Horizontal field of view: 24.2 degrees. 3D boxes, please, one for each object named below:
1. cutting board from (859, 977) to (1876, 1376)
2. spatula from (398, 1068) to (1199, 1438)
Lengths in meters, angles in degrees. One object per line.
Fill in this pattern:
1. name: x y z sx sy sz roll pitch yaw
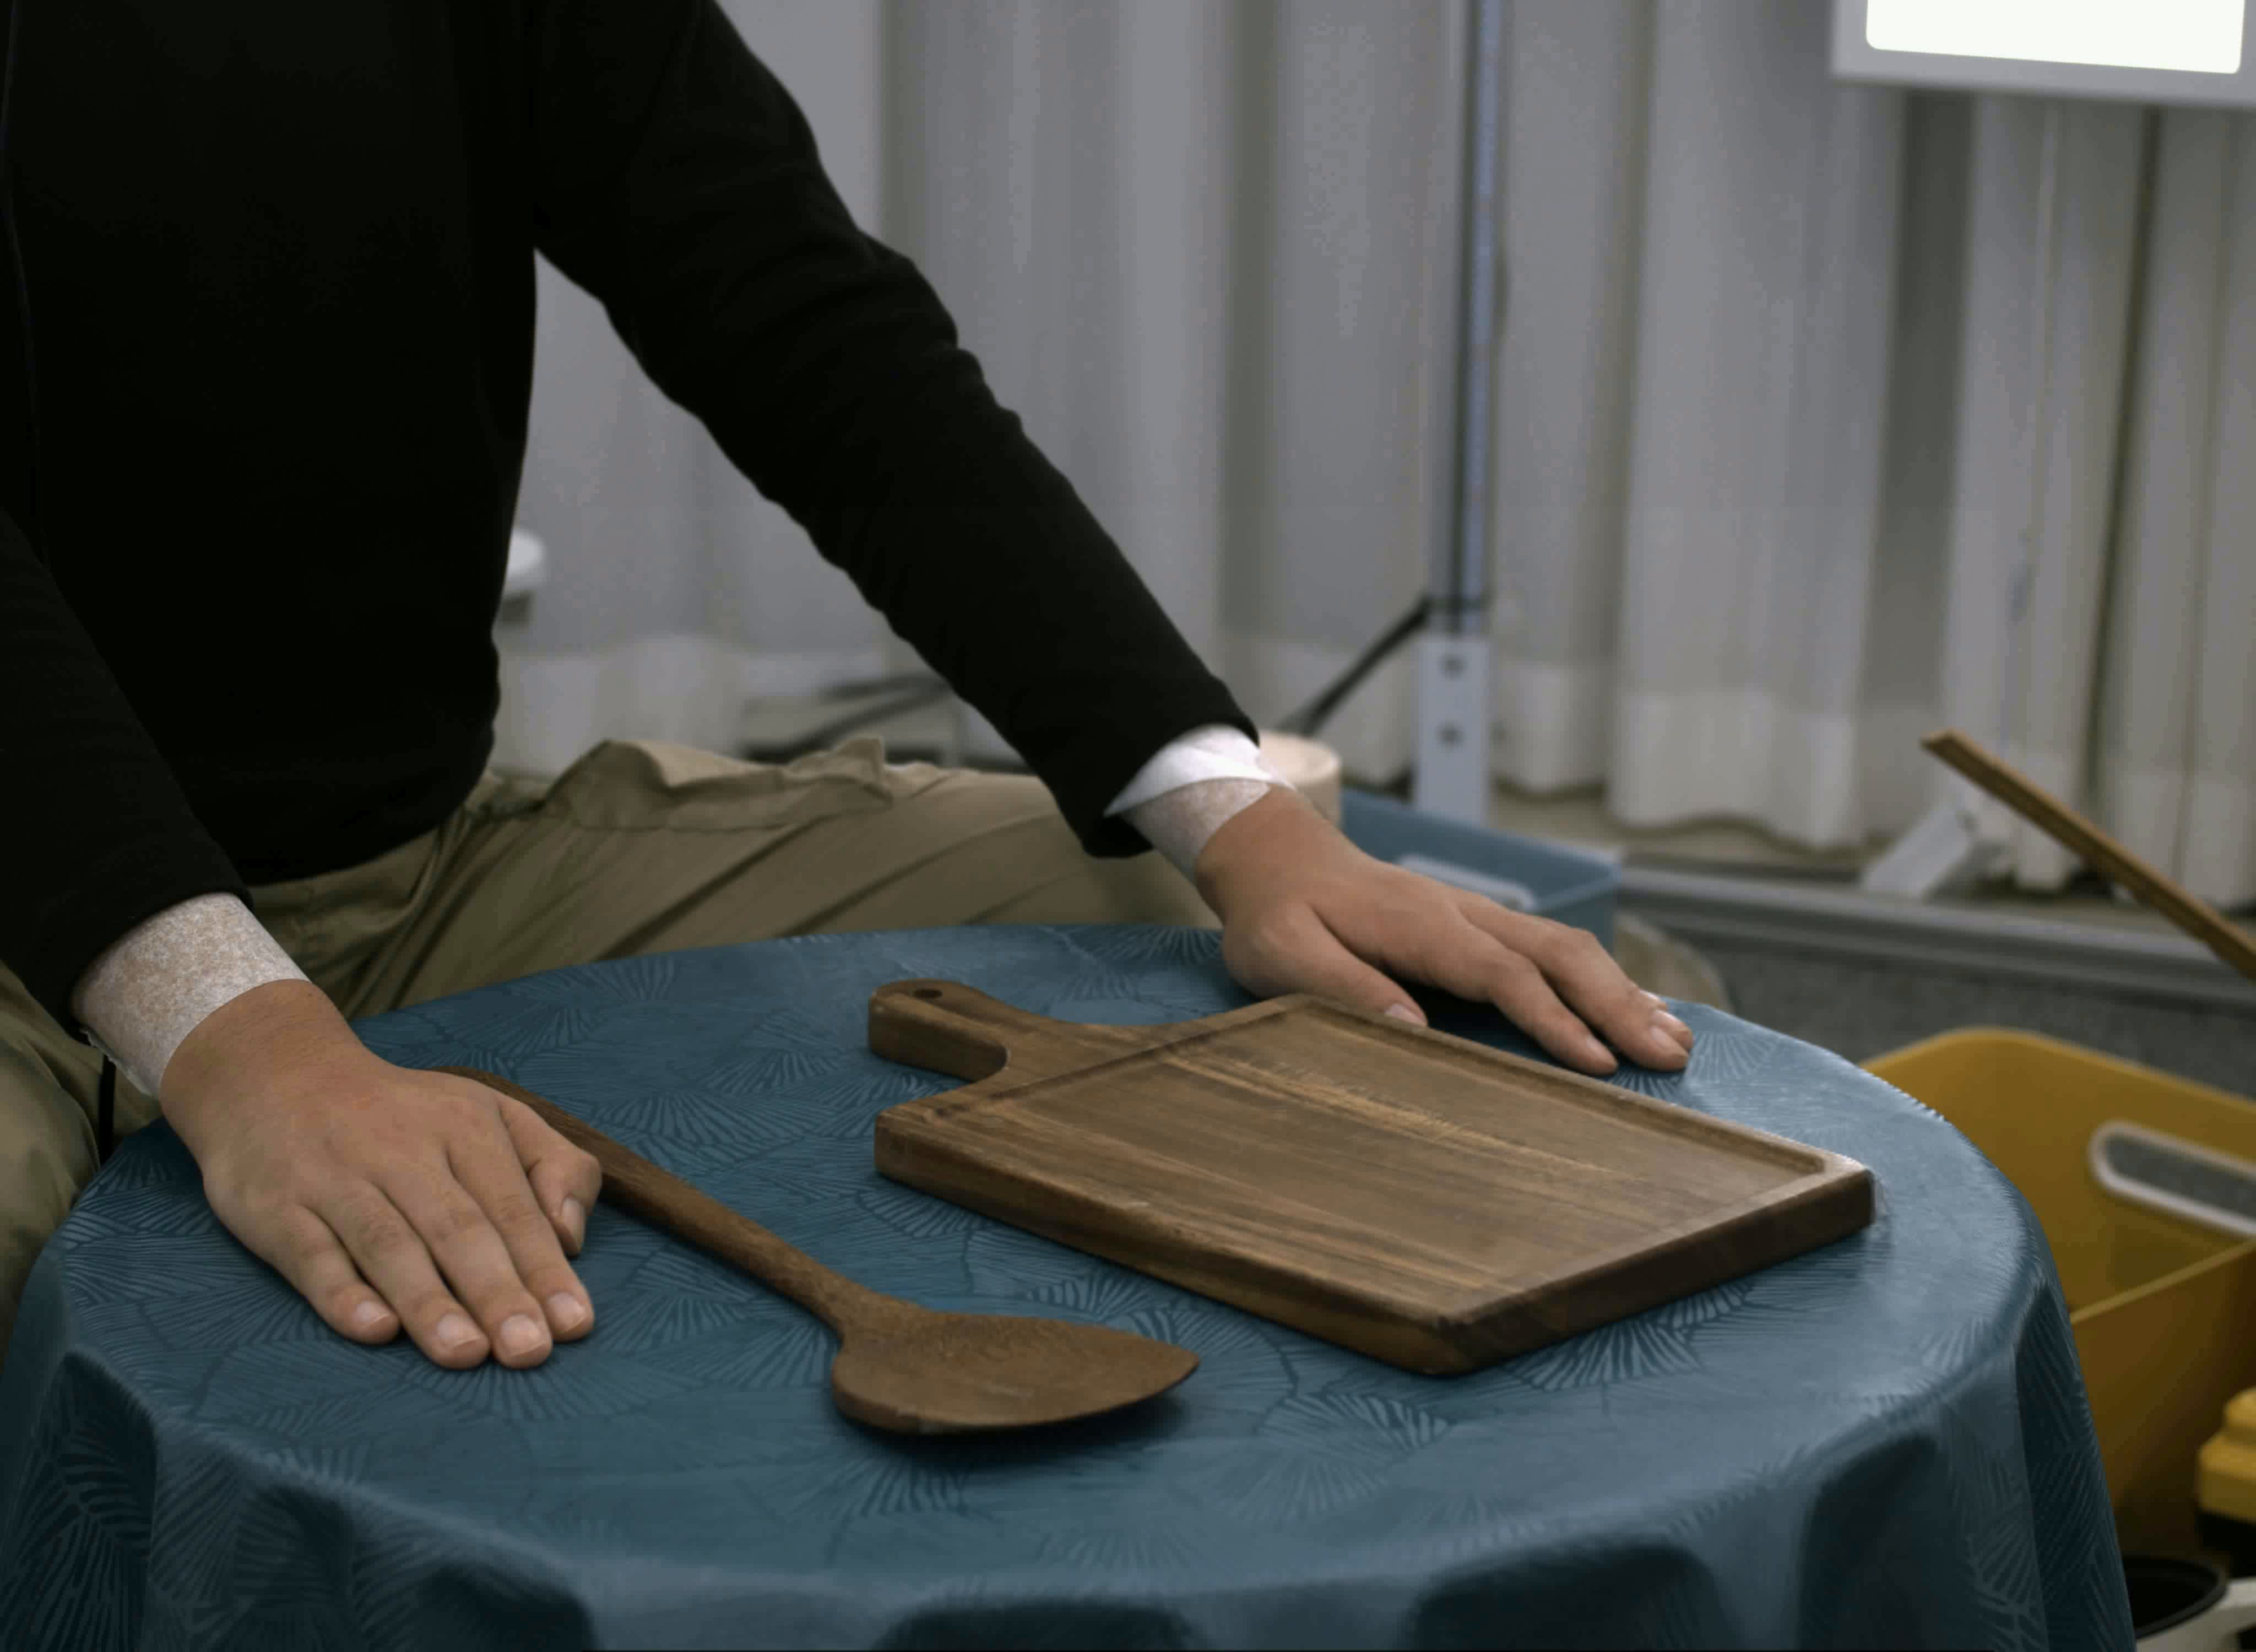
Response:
1. cutting board: 0.040 0.095 1.647 0.202 0.023 0.347 -14 21 -43
2. spatula: -0.120 0.120 1.560 0.096 0.016 0.381 -10 18 -35
